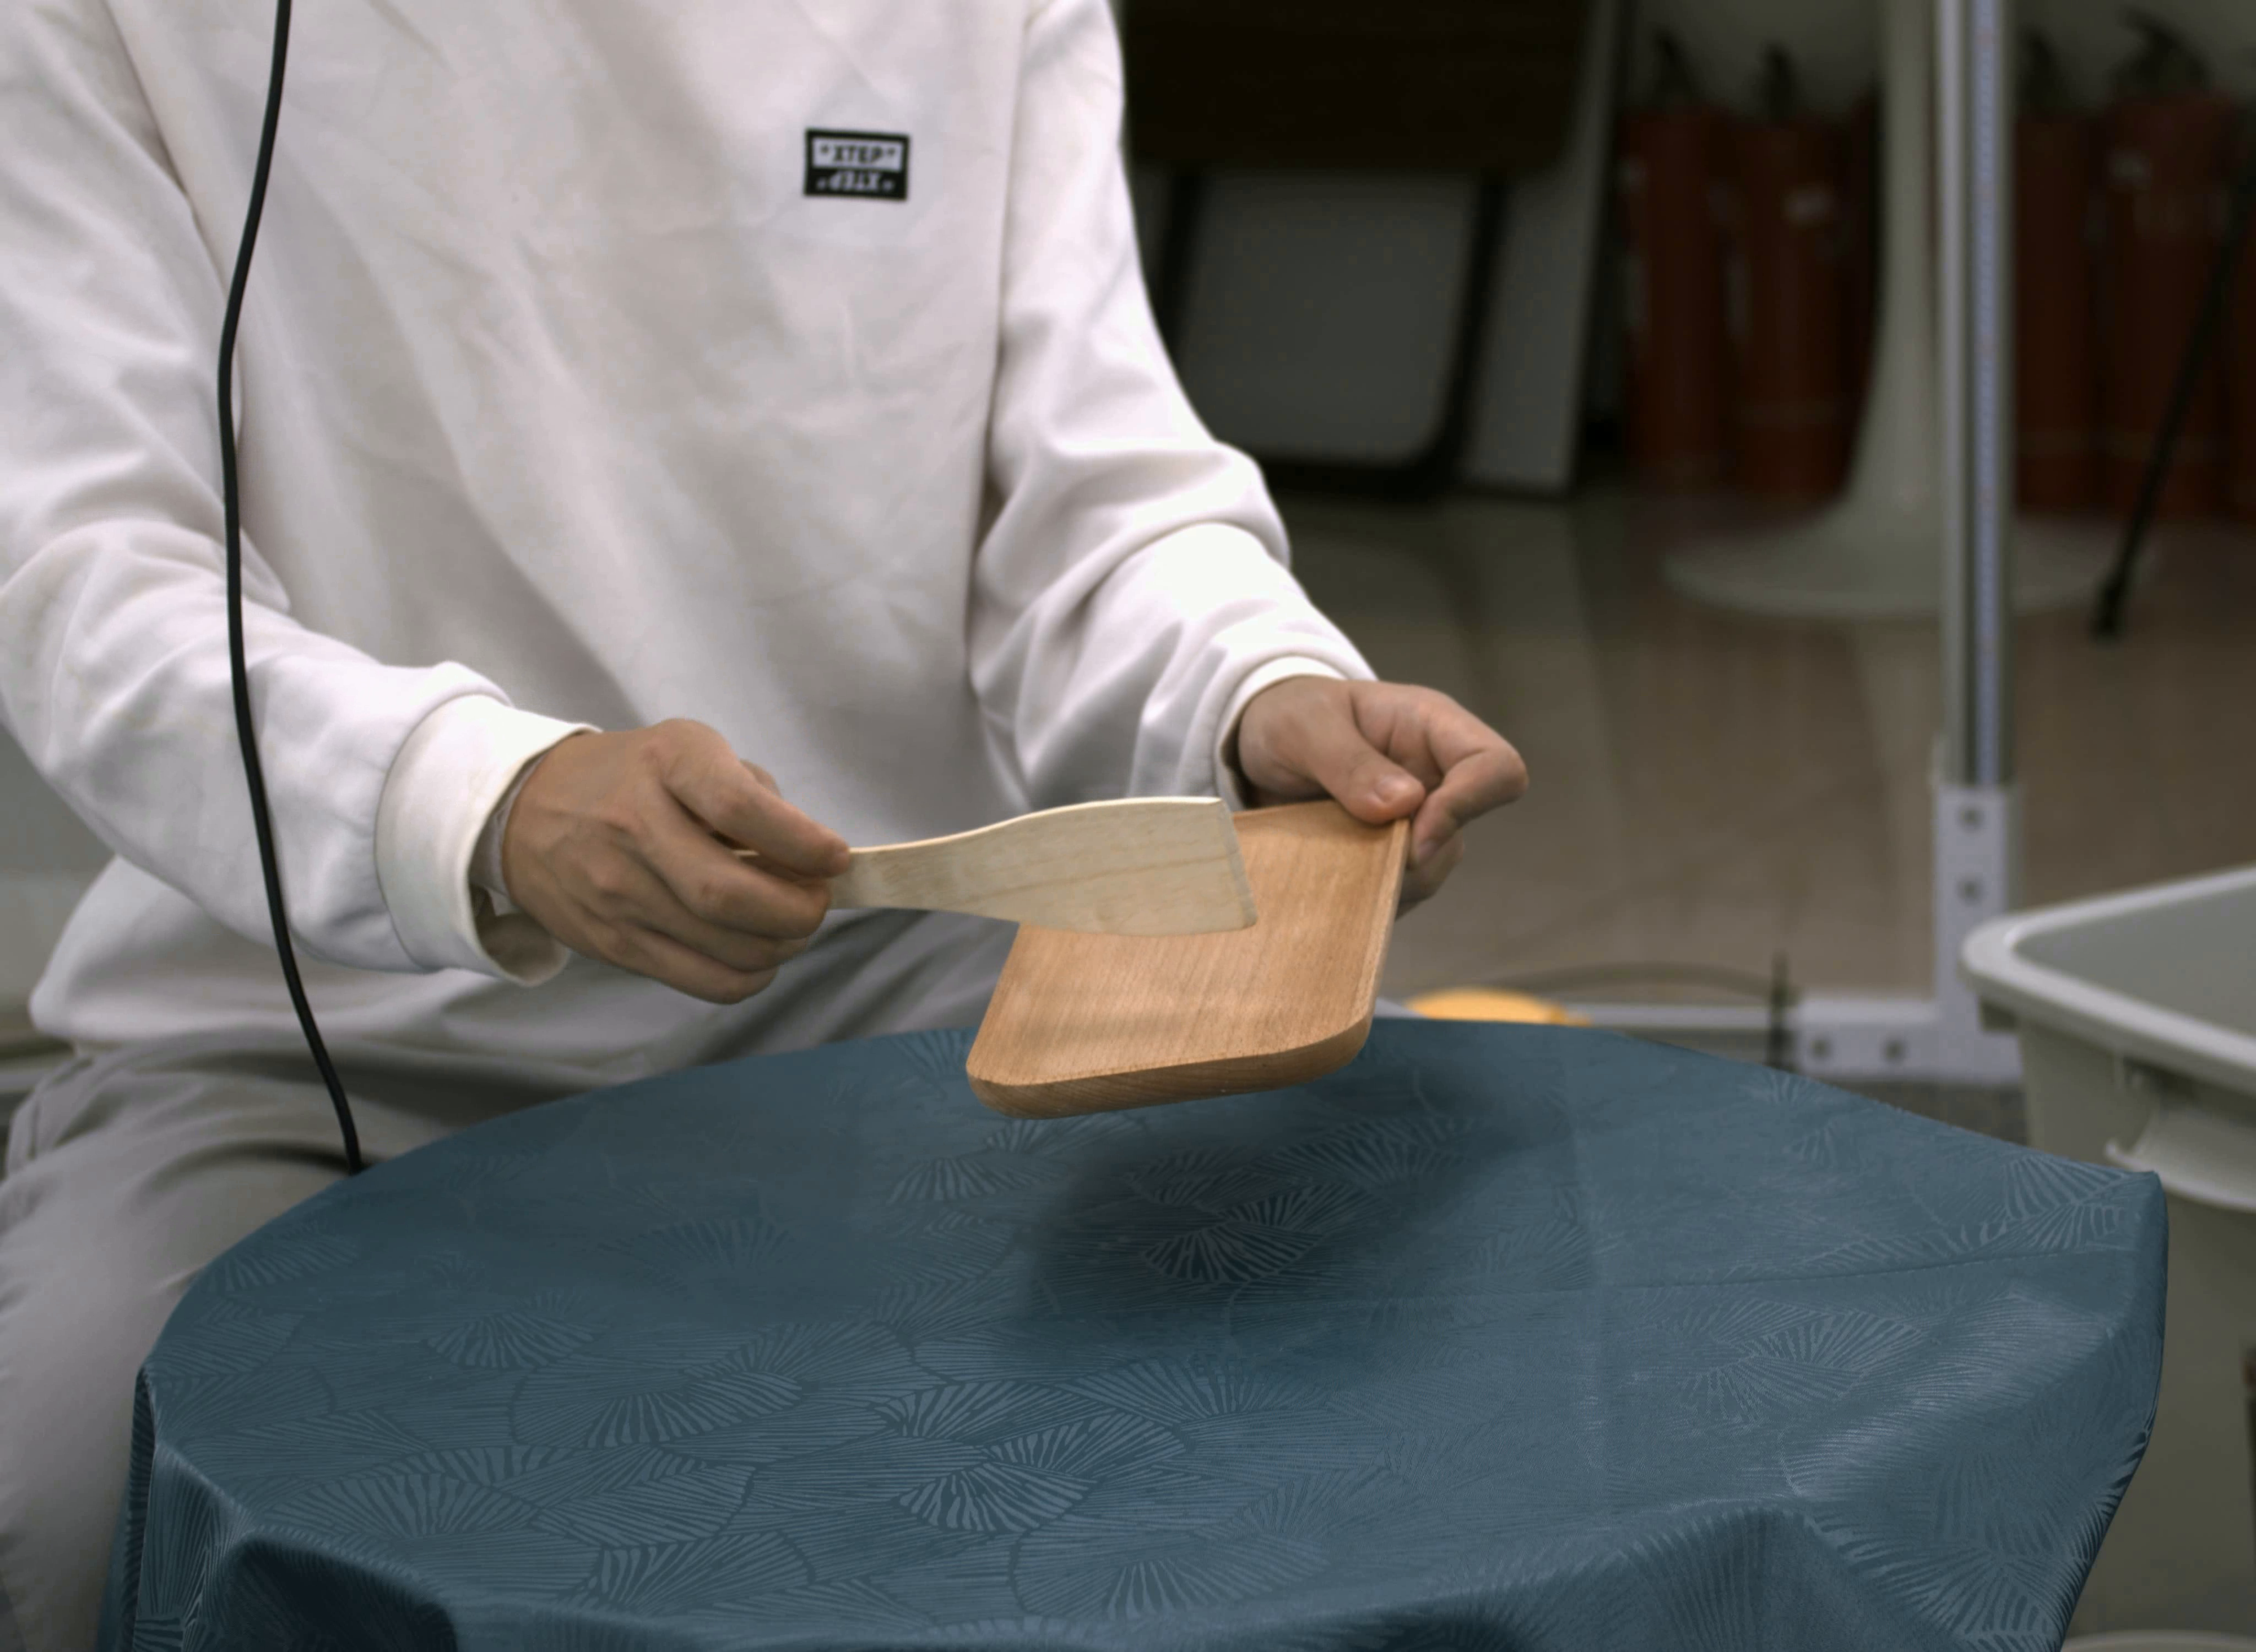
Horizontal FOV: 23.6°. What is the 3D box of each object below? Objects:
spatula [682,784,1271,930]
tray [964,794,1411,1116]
[{"bbox_3d":[-0.052,0.015,1.712,0.208,0.051,0.005,-4,26,28],"label":"spatula"},{"bbox_3d":[0.023,0.039,1.739,0.129,0.023,0.250,-5,17,9],"label":"tray"}]
